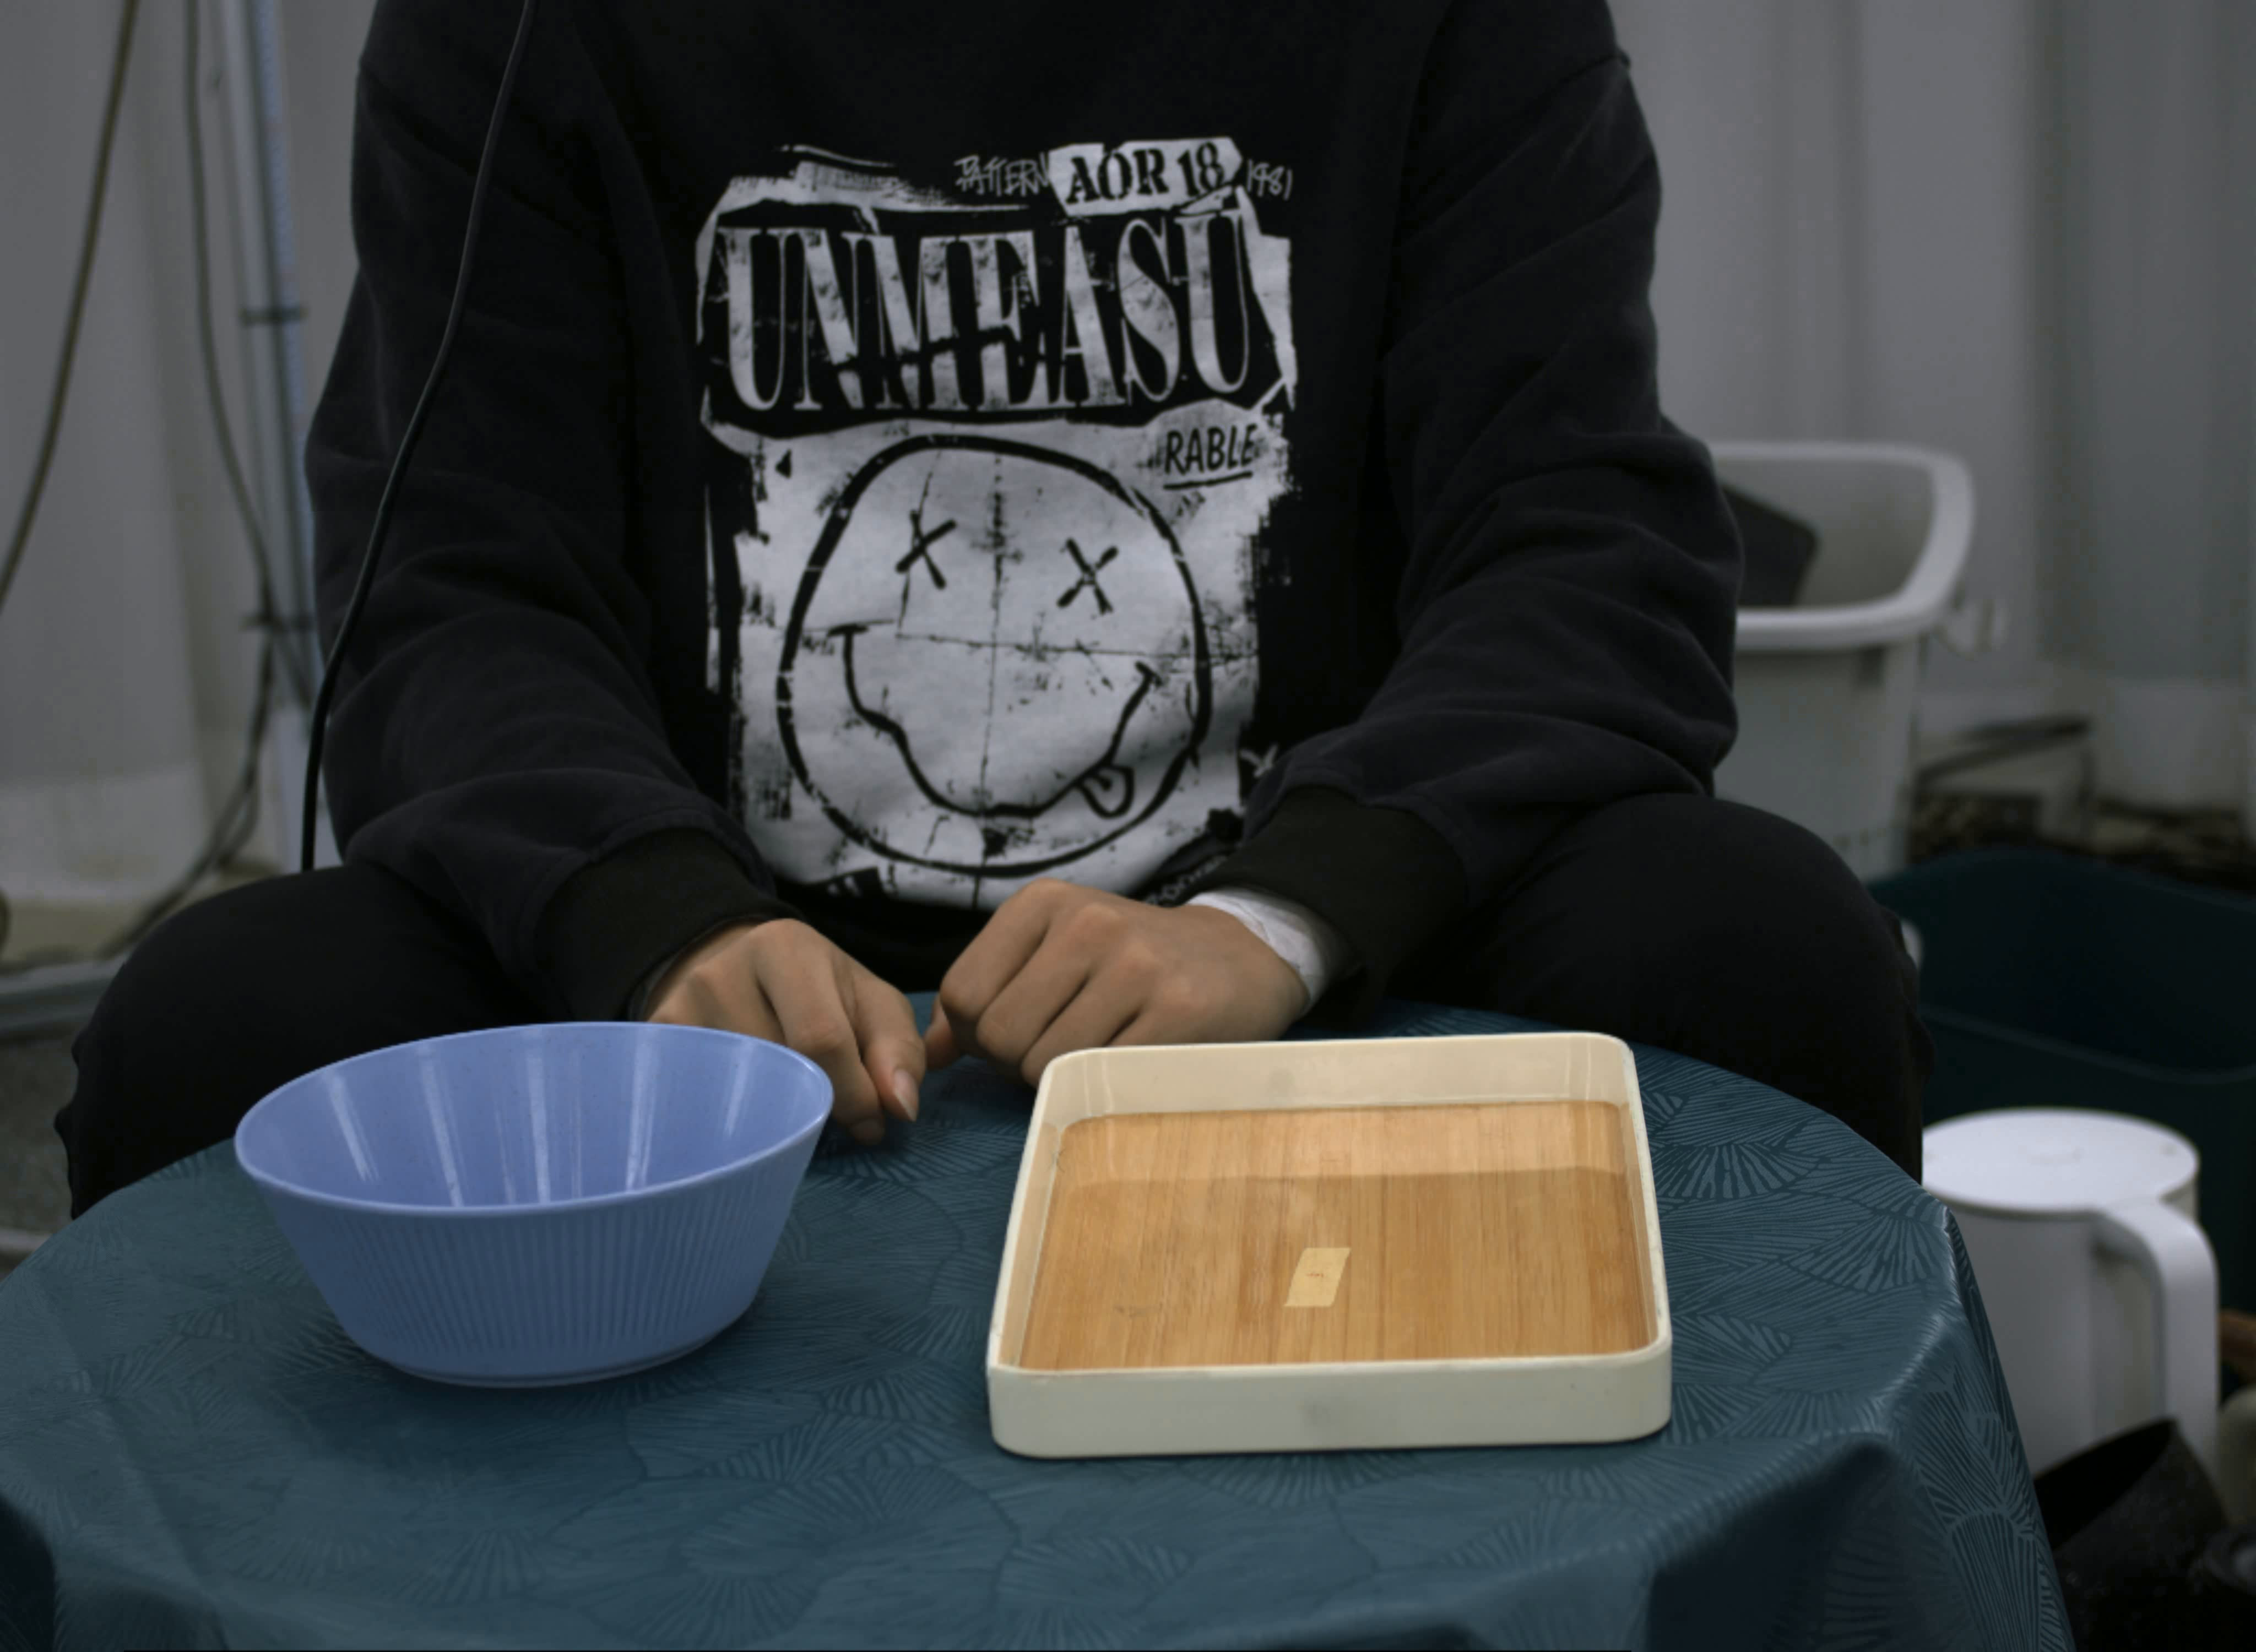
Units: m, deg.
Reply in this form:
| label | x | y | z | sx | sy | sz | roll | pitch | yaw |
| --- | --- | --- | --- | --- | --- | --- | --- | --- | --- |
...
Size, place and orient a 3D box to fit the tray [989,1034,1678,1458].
| label | x | y | z | sx | sy | sz | roll | pitch | yaw |
| --- | --- | --- | --- | --- | --- | --- | --- | --- | --- |
| tray | 0.062 | 0.121 | 1.629 | 0.191 | 0.027 | 0.302 | -2 | 15 | 3 |

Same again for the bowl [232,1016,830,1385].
| label | x | y | z | sx | sy | sz | roll | pitch | yaw |
| --- | --- | --- | --- | --- | --- | --- | --- | --- | --- |
| bowl | -0.174 | 0.113 | 1.615 | 0.175 | 0.070 | 0.177 | -2 | 16 | 0 |
